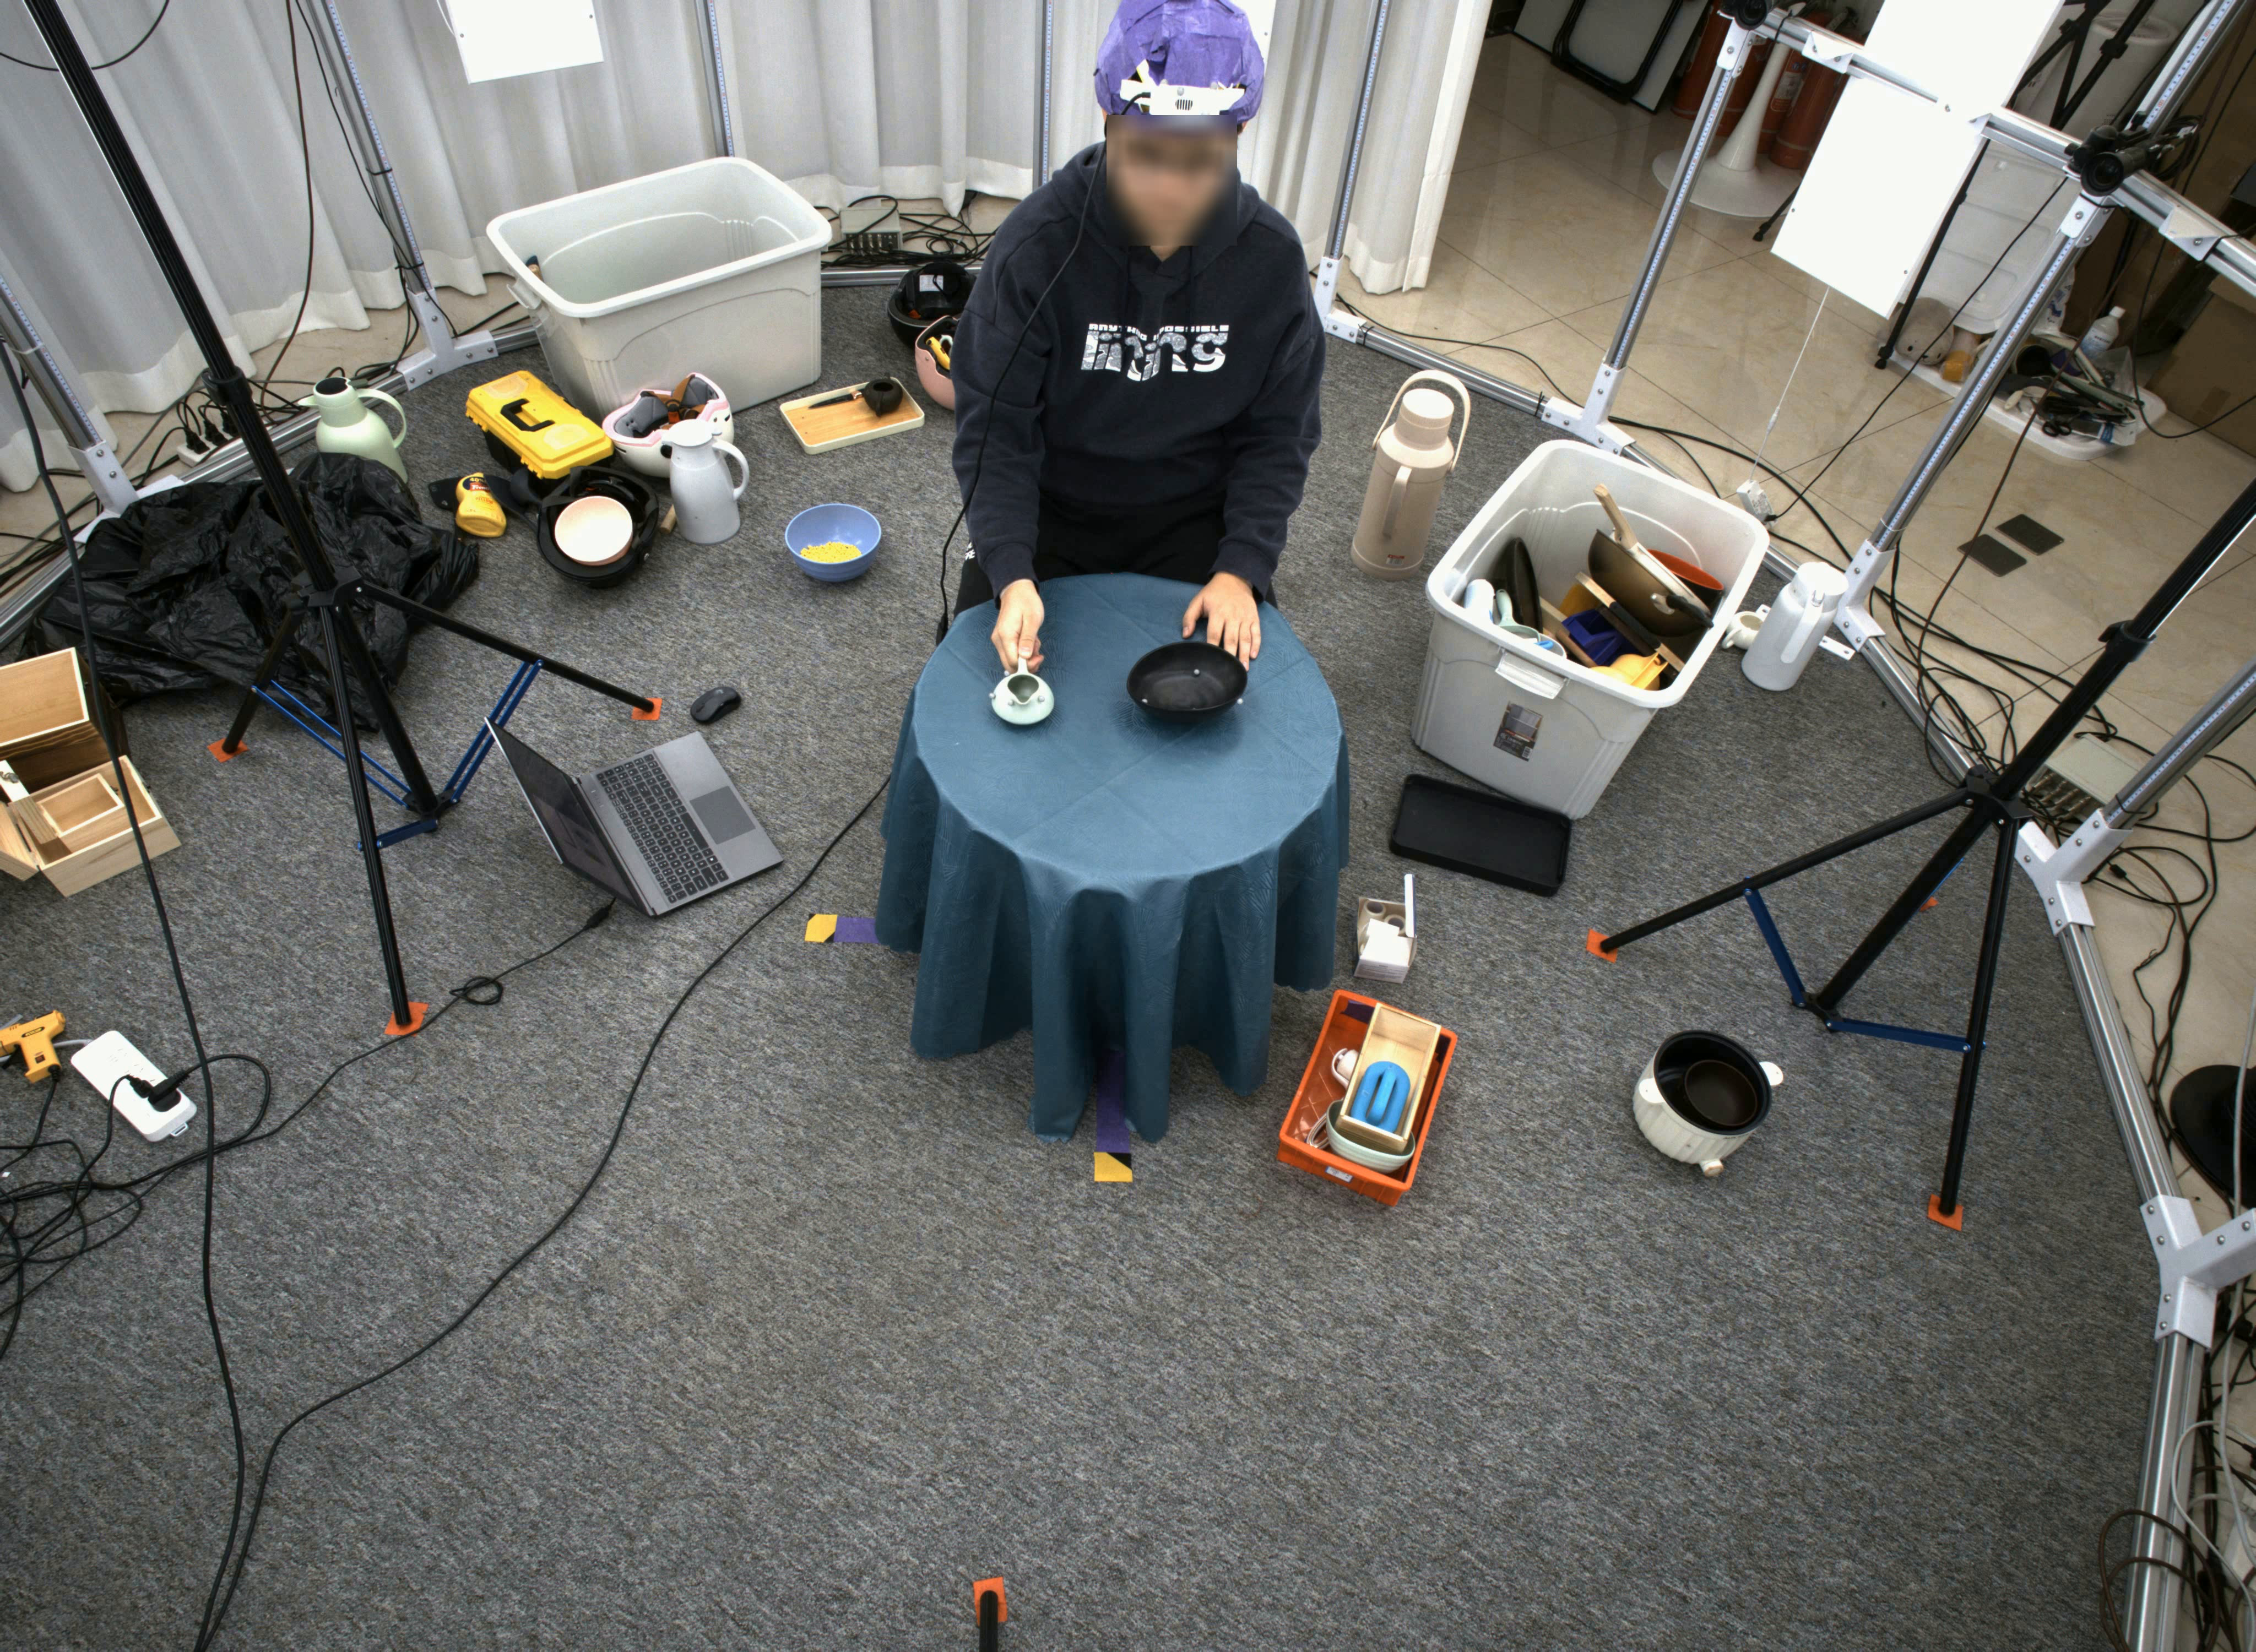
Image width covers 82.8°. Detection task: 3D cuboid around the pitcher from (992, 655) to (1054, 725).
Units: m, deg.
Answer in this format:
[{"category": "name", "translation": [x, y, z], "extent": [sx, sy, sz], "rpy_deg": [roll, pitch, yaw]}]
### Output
[{"category": "pitcher", "translation": [-0.146, -0.187, 1.781], "extent": [0.086, 0.059, 0.111], "rpy_deg": [-1, 47, -7]}]

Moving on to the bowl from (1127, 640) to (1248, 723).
[{"category": "bowl", "translation": [0.083, -0.189, 1.795], "extent": [0.170, 0.065, 0.141], "rpy_deg": [-10, 50, -11]}]
